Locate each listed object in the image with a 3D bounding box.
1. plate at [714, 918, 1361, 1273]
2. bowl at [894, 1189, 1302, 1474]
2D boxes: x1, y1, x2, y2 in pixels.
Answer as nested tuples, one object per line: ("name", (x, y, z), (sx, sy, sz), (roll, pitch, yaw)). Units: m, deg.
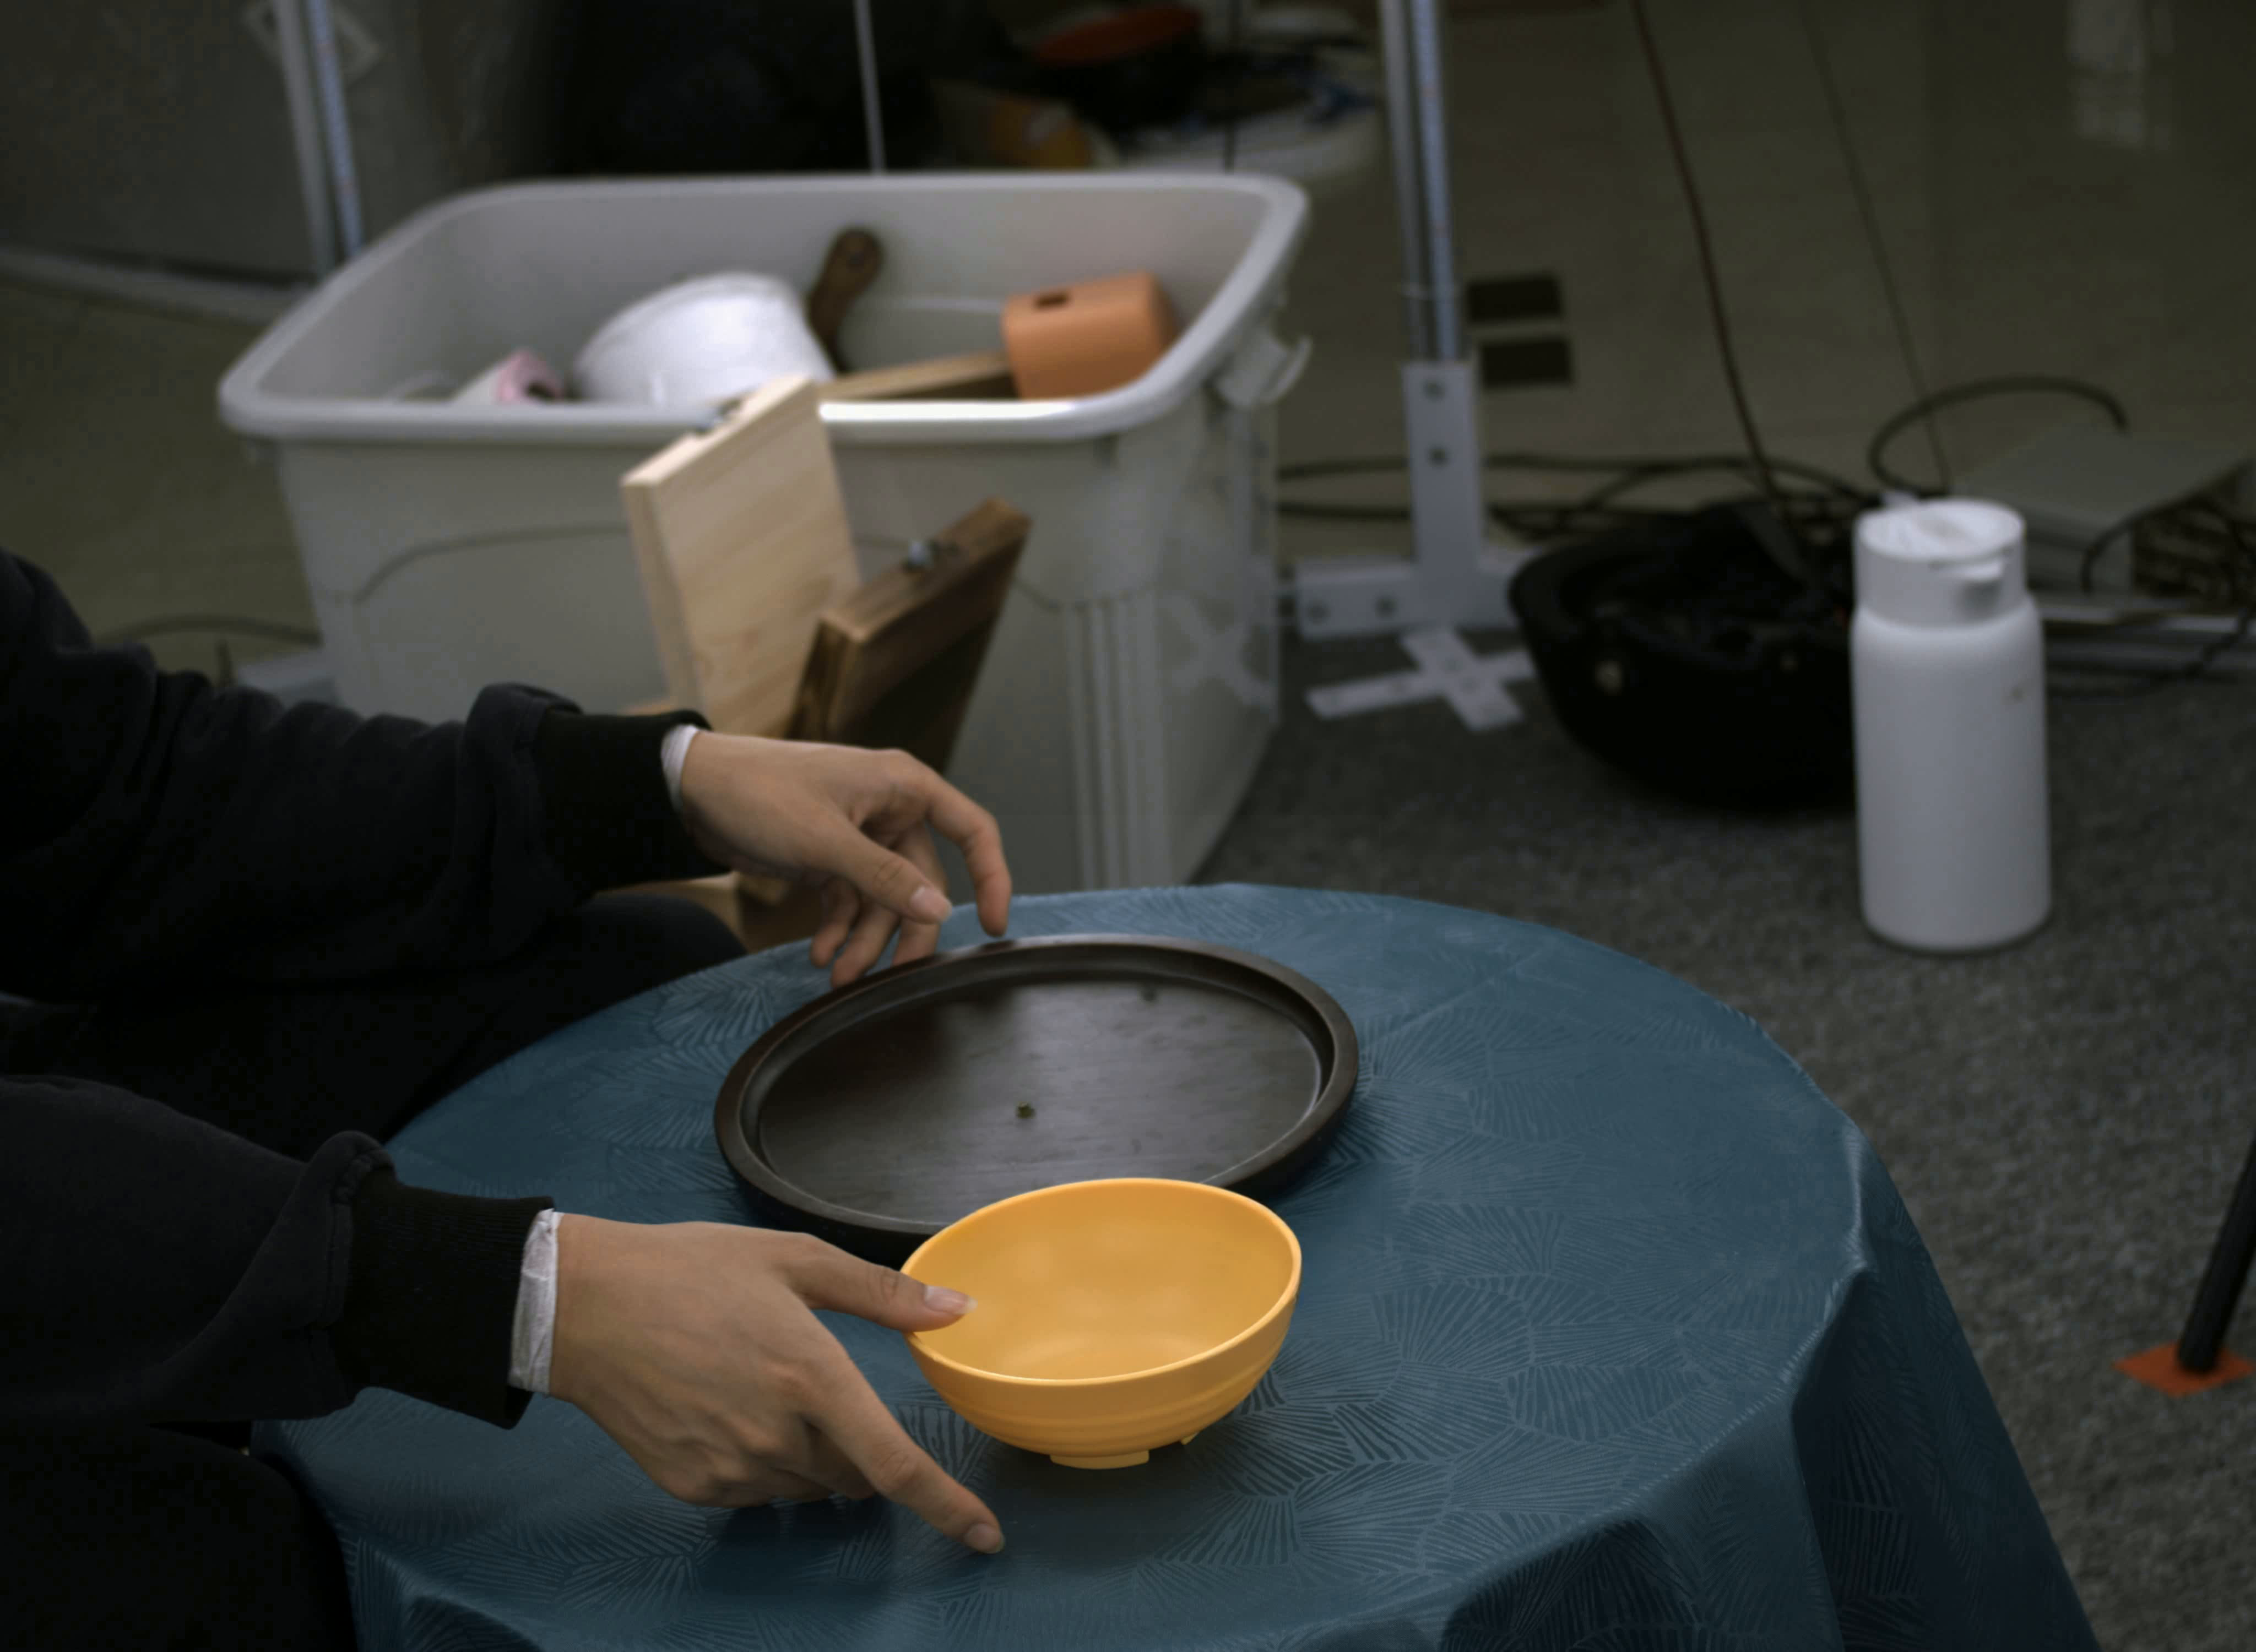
("plate", (-0.034, 0.107, 2.203), (0.254, 0.029, 0.251), (-6, 26, 3))
("bowl", (-0.007, 0.185, 1.989), (0.145, 0.061, 0.143), (-7, 23, 3))
